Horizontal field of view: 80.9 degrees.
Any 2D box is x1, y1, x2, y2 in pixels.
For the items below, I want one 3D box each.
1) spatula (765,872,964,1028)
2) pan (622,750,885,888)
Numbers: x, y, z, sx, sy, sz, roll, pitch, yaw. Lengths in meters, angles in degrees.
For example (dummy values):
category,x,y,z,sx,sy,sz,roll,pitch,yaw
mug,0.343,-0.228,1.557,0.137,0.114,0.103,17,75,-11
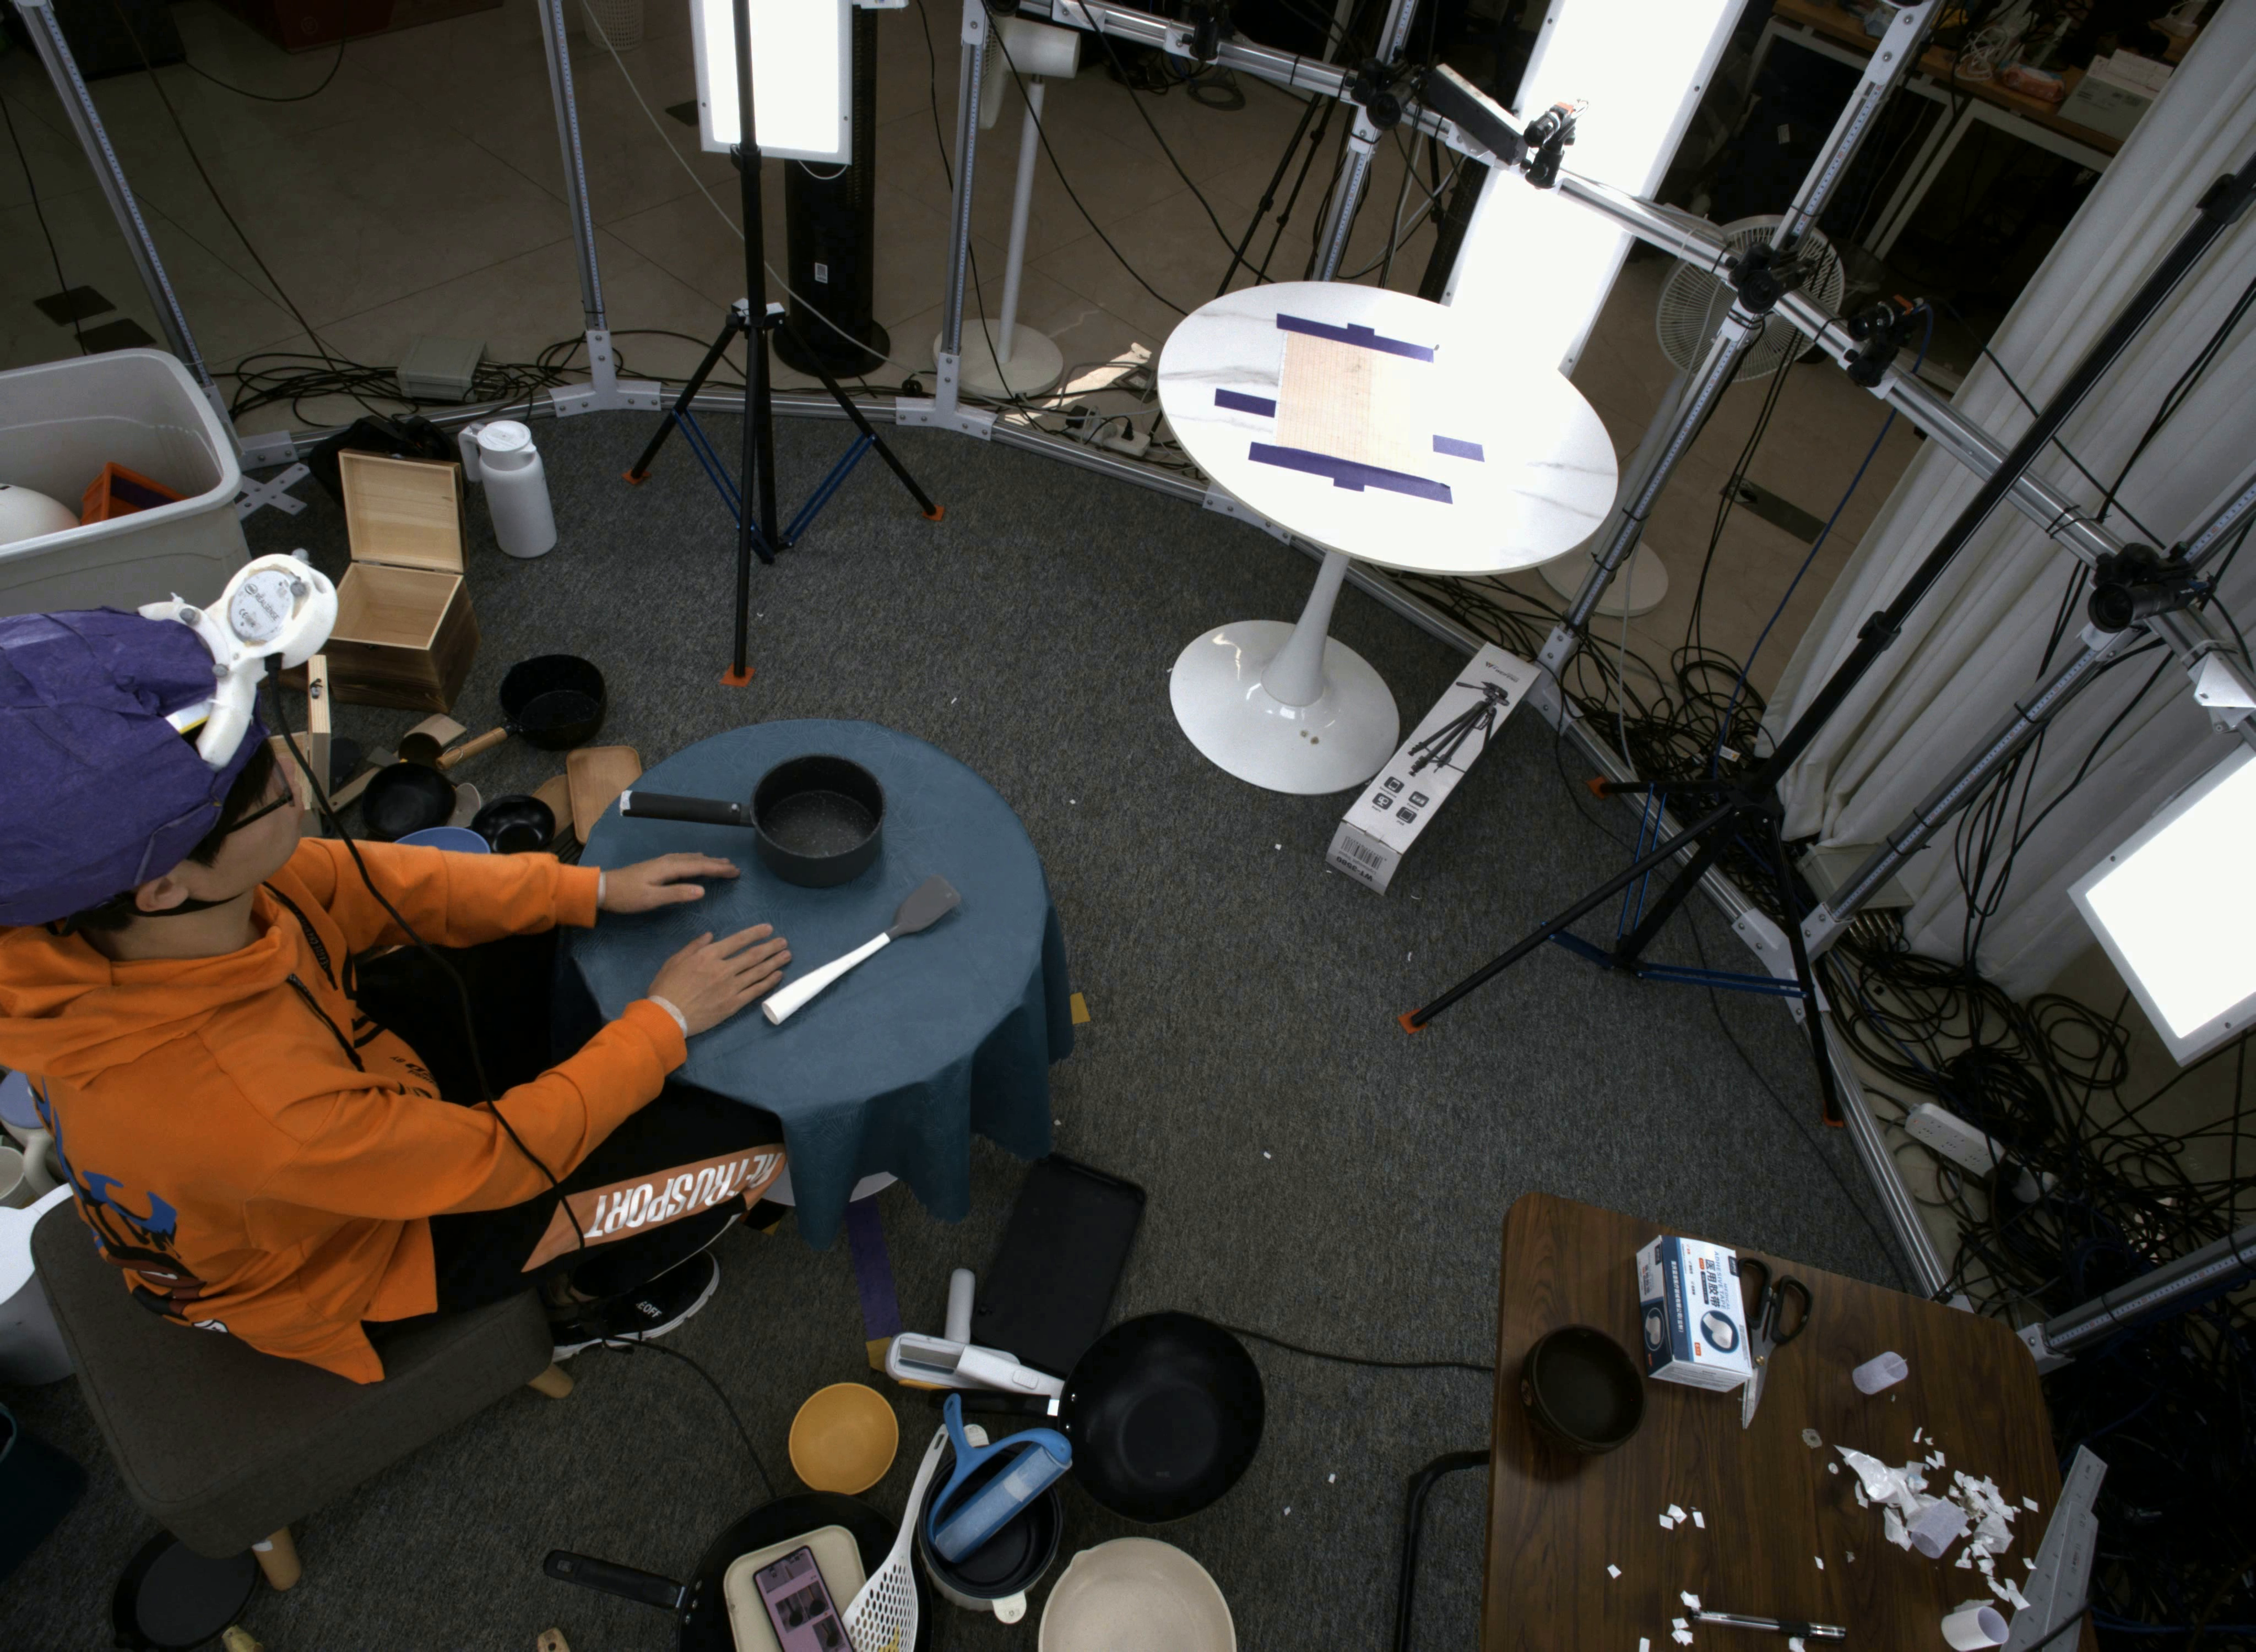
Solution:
category,x,y,z,sx,sy,sz,roll,pitch,yaw
spatula,-0.324,0.150,1.608,0.057,0.033,0.288,38,54,21
pan,-0.478,-0.011,1.653,0.330,0.088,0.168,3,52,-15
